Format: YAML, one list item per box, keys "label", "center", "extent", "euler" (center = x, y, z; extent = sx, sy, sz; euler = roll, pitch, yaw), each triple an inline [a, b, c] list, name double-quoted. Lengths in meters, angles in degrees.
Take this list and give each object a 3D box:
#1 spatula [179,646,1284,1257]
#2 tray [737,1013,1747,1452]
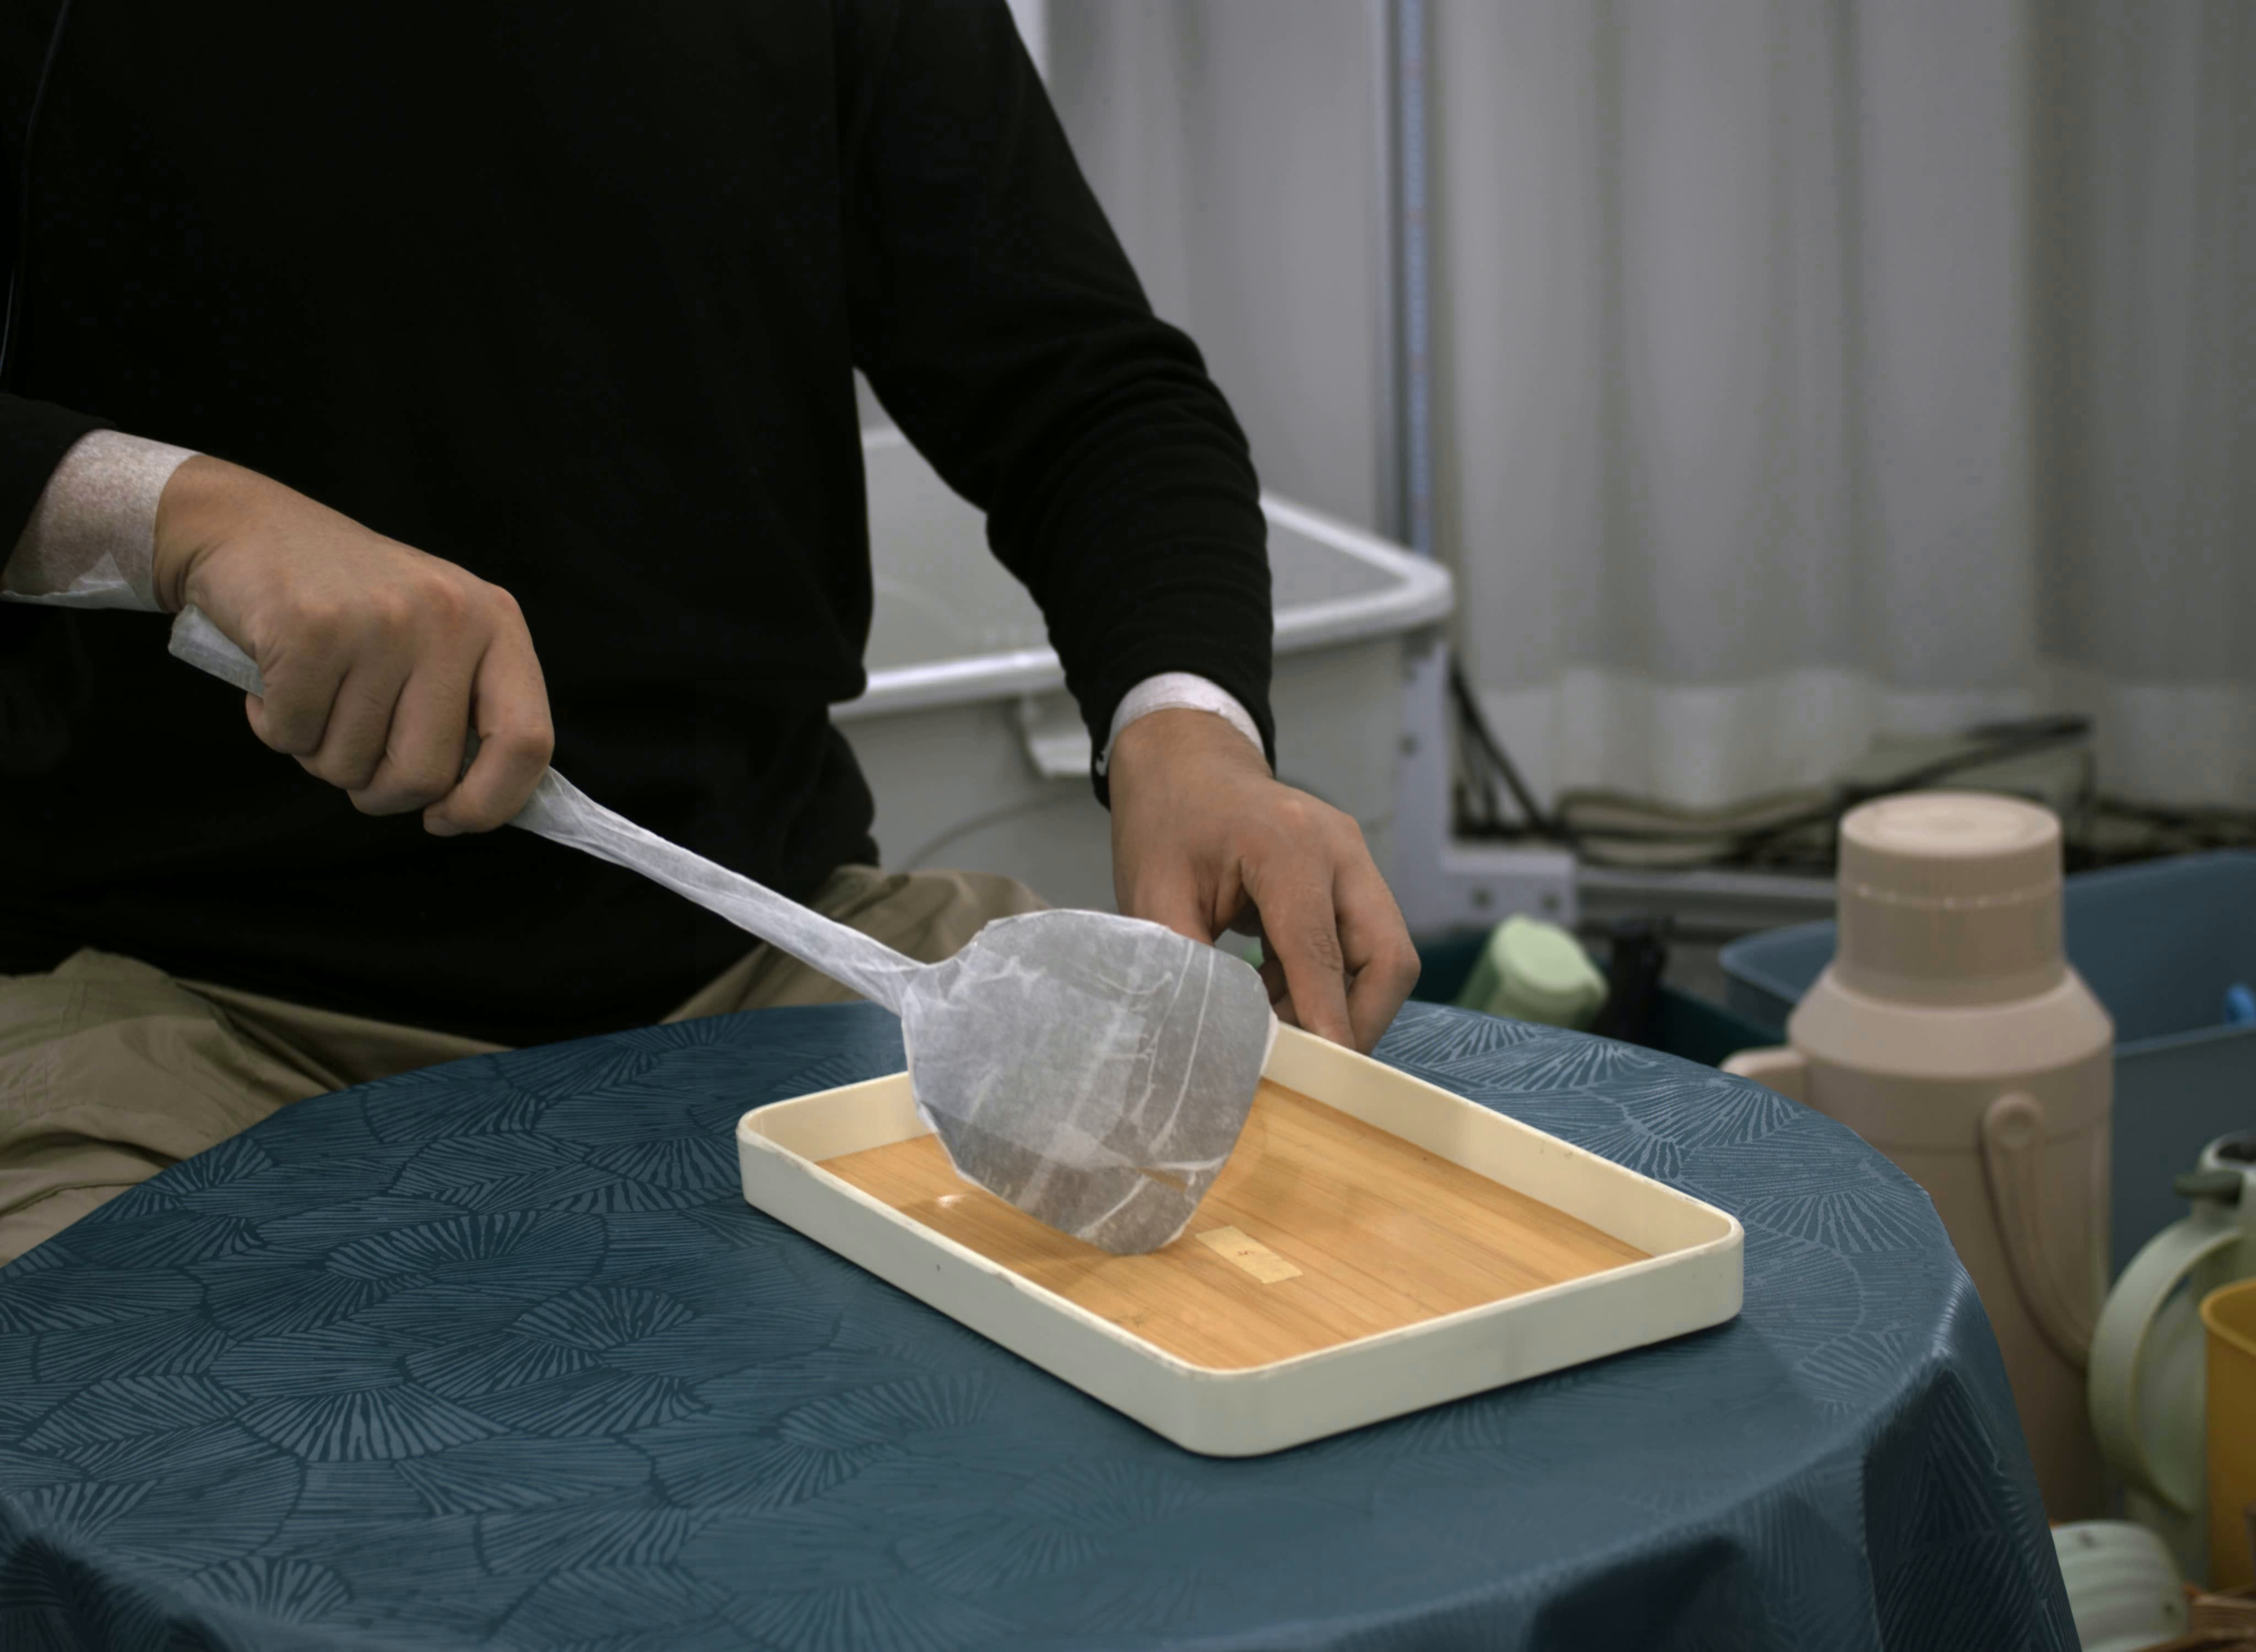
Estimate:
- label: "spatula"
  center: [-0.126, 0.020, 1.662]
  extent: [0.366, 0.099, 0.044]
  euler: [25, 5, 17]
- label: "tray"
  center: [0.028, 0.116, 1.646]
  extent: [0.191, 0.027, 0.302]
  euler: [-12, 17, -28]
